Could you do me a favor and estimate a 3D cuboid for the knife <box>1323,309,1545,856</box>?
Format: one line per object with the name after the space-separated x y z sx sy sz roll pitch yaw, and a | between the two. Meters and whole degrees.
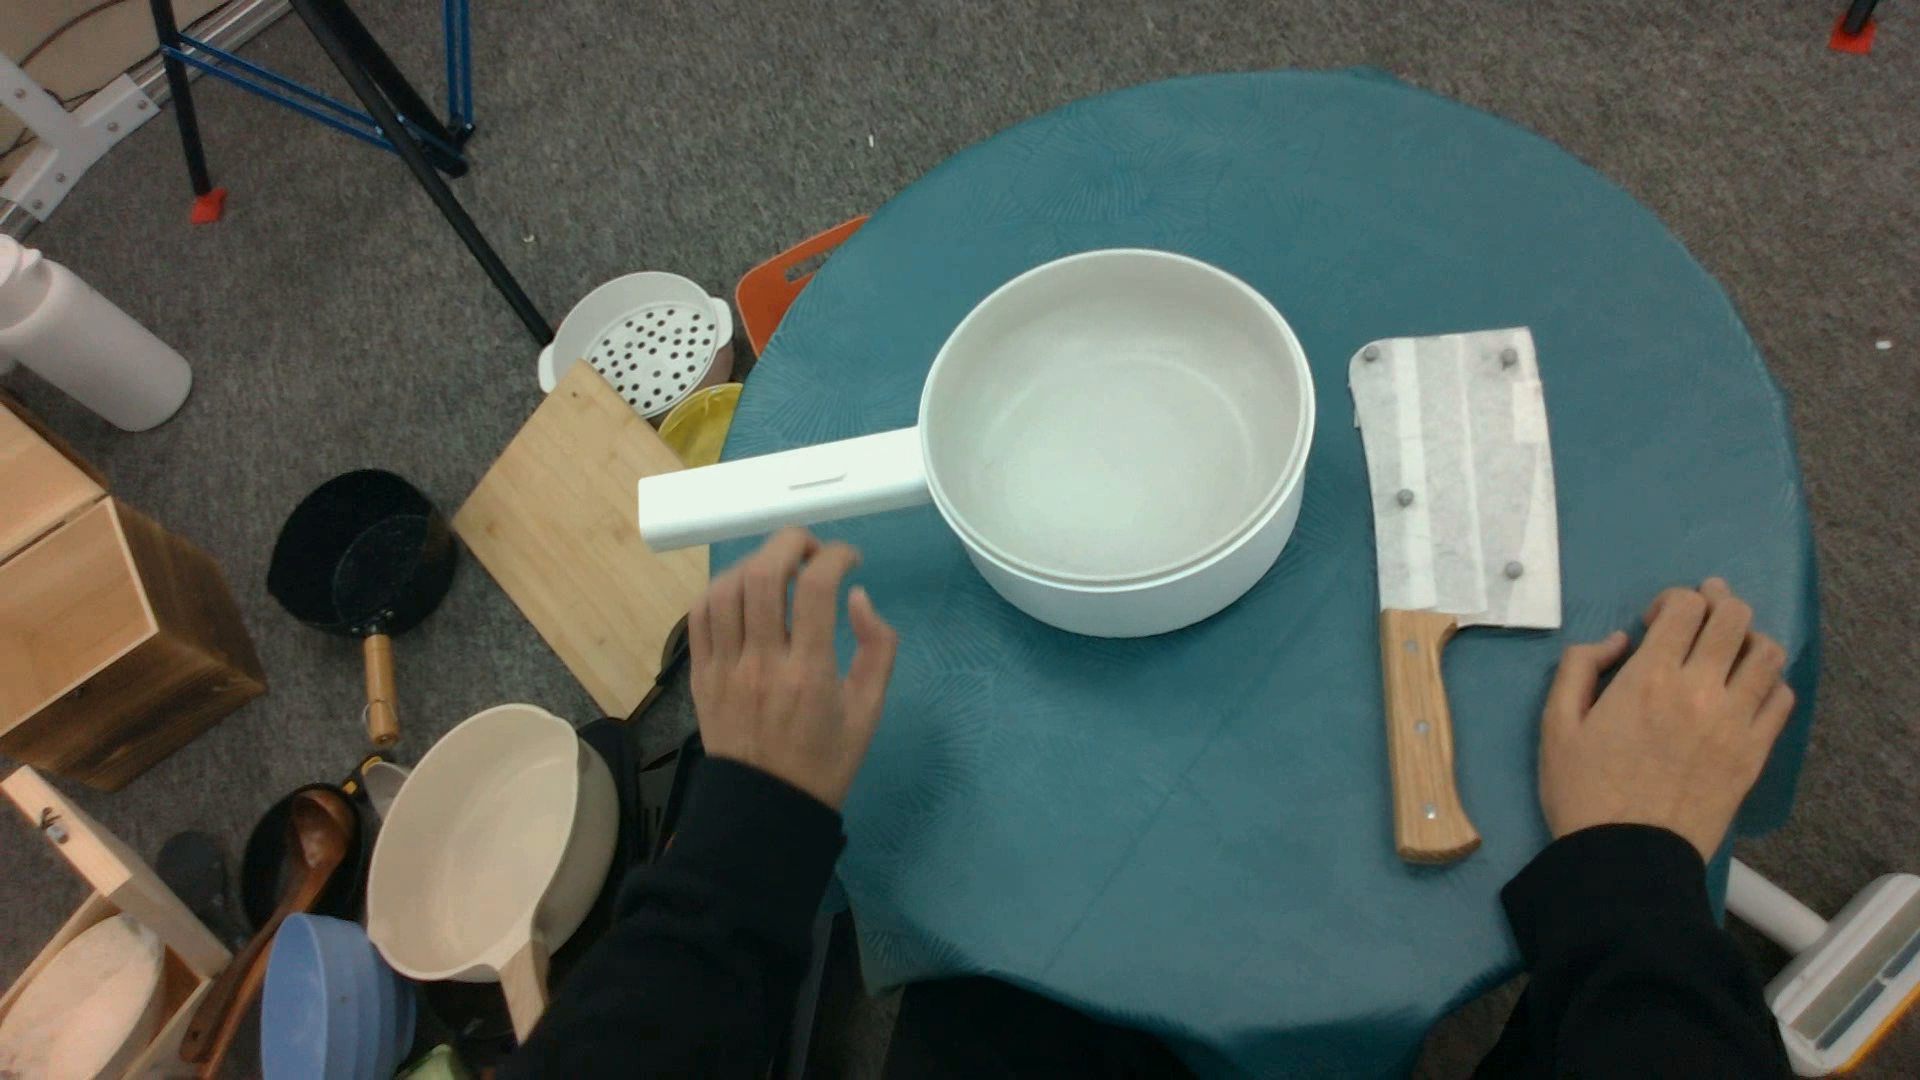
0.244 0.008 0.717 0.114 0.021 0.316 3 63 13 | knife

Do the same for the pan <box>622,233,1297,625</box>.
0.002 -0.040 0.746 0.354 0.102 0.202 -11 64 7 | pan
